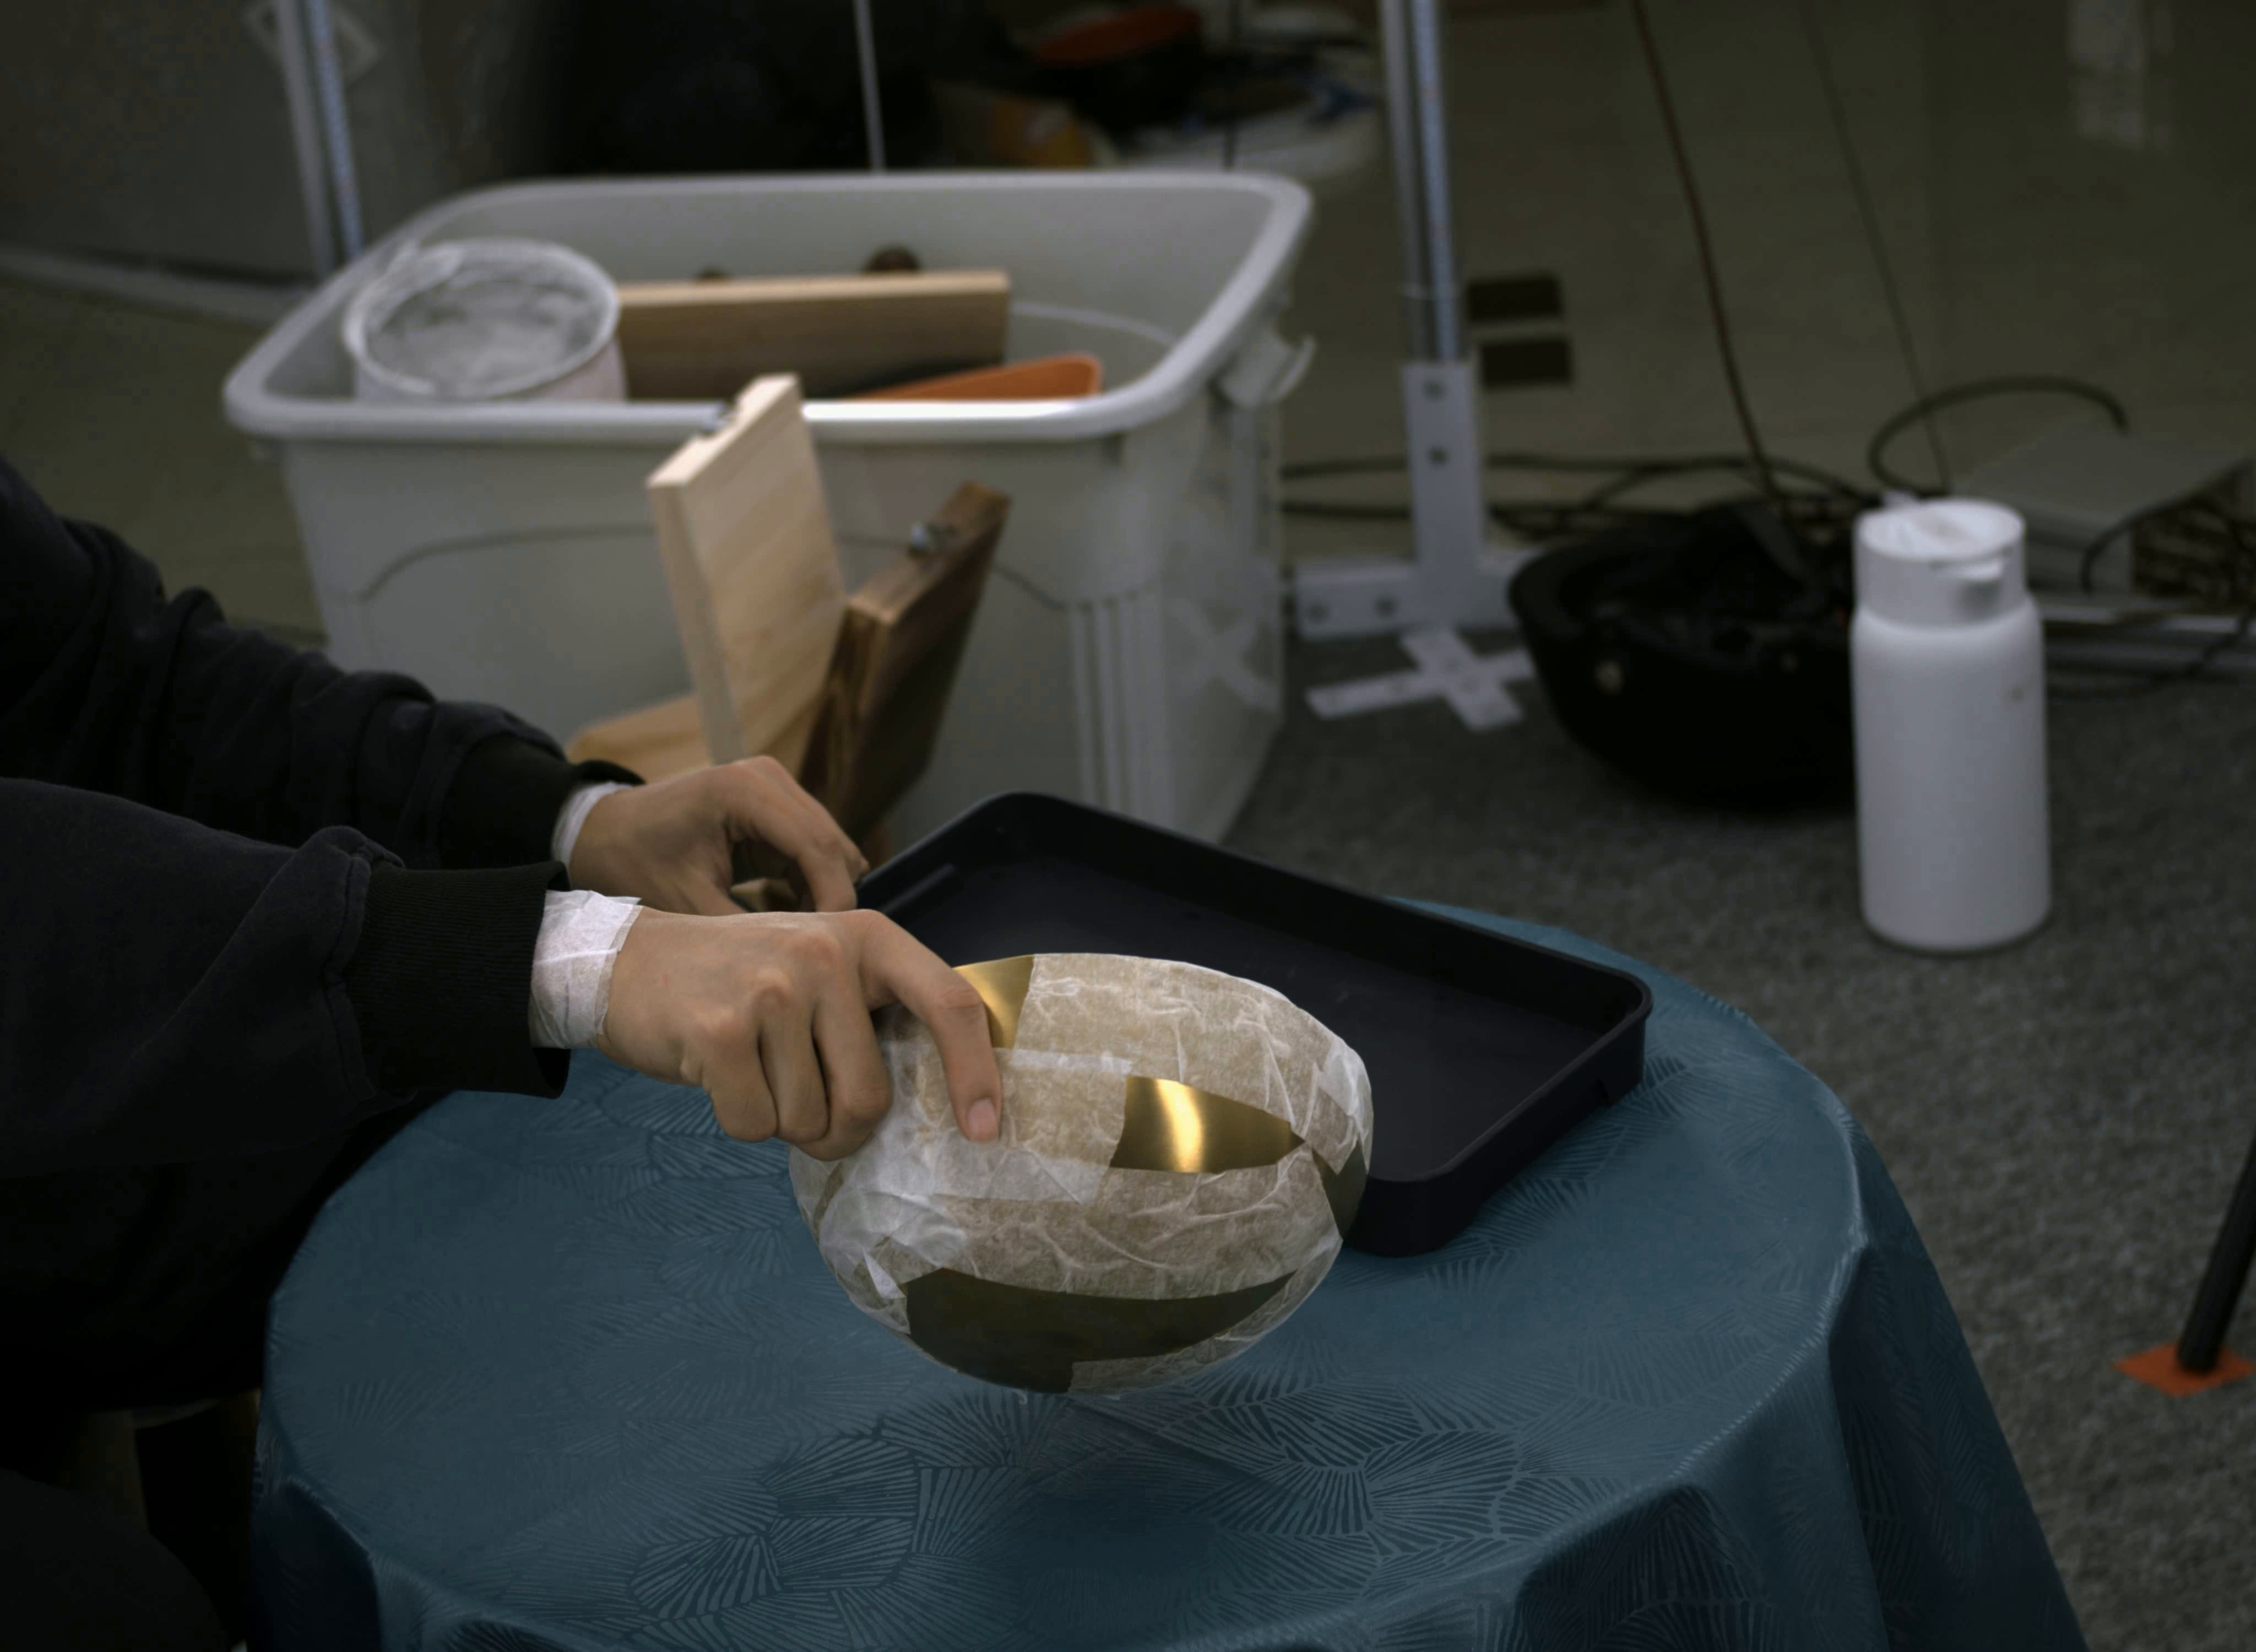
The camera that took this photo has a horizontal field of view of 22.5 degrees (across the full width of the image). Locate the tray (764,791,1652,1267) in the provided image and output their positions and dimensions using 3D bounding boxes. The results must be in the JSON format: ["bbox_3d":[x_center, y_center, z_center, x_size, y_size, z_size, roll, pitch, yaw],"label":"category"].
[{"bbox_3d":[0.029,0.075,2.209,0.315,0.037,0.182,20,33,31],"label":"tray"}]

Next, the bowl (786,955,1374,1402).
[{"bbox_3d":[-0.018,0.138,1.924,0.214,0.218,0.093,-4,56,5],"label":"bowl"}]
